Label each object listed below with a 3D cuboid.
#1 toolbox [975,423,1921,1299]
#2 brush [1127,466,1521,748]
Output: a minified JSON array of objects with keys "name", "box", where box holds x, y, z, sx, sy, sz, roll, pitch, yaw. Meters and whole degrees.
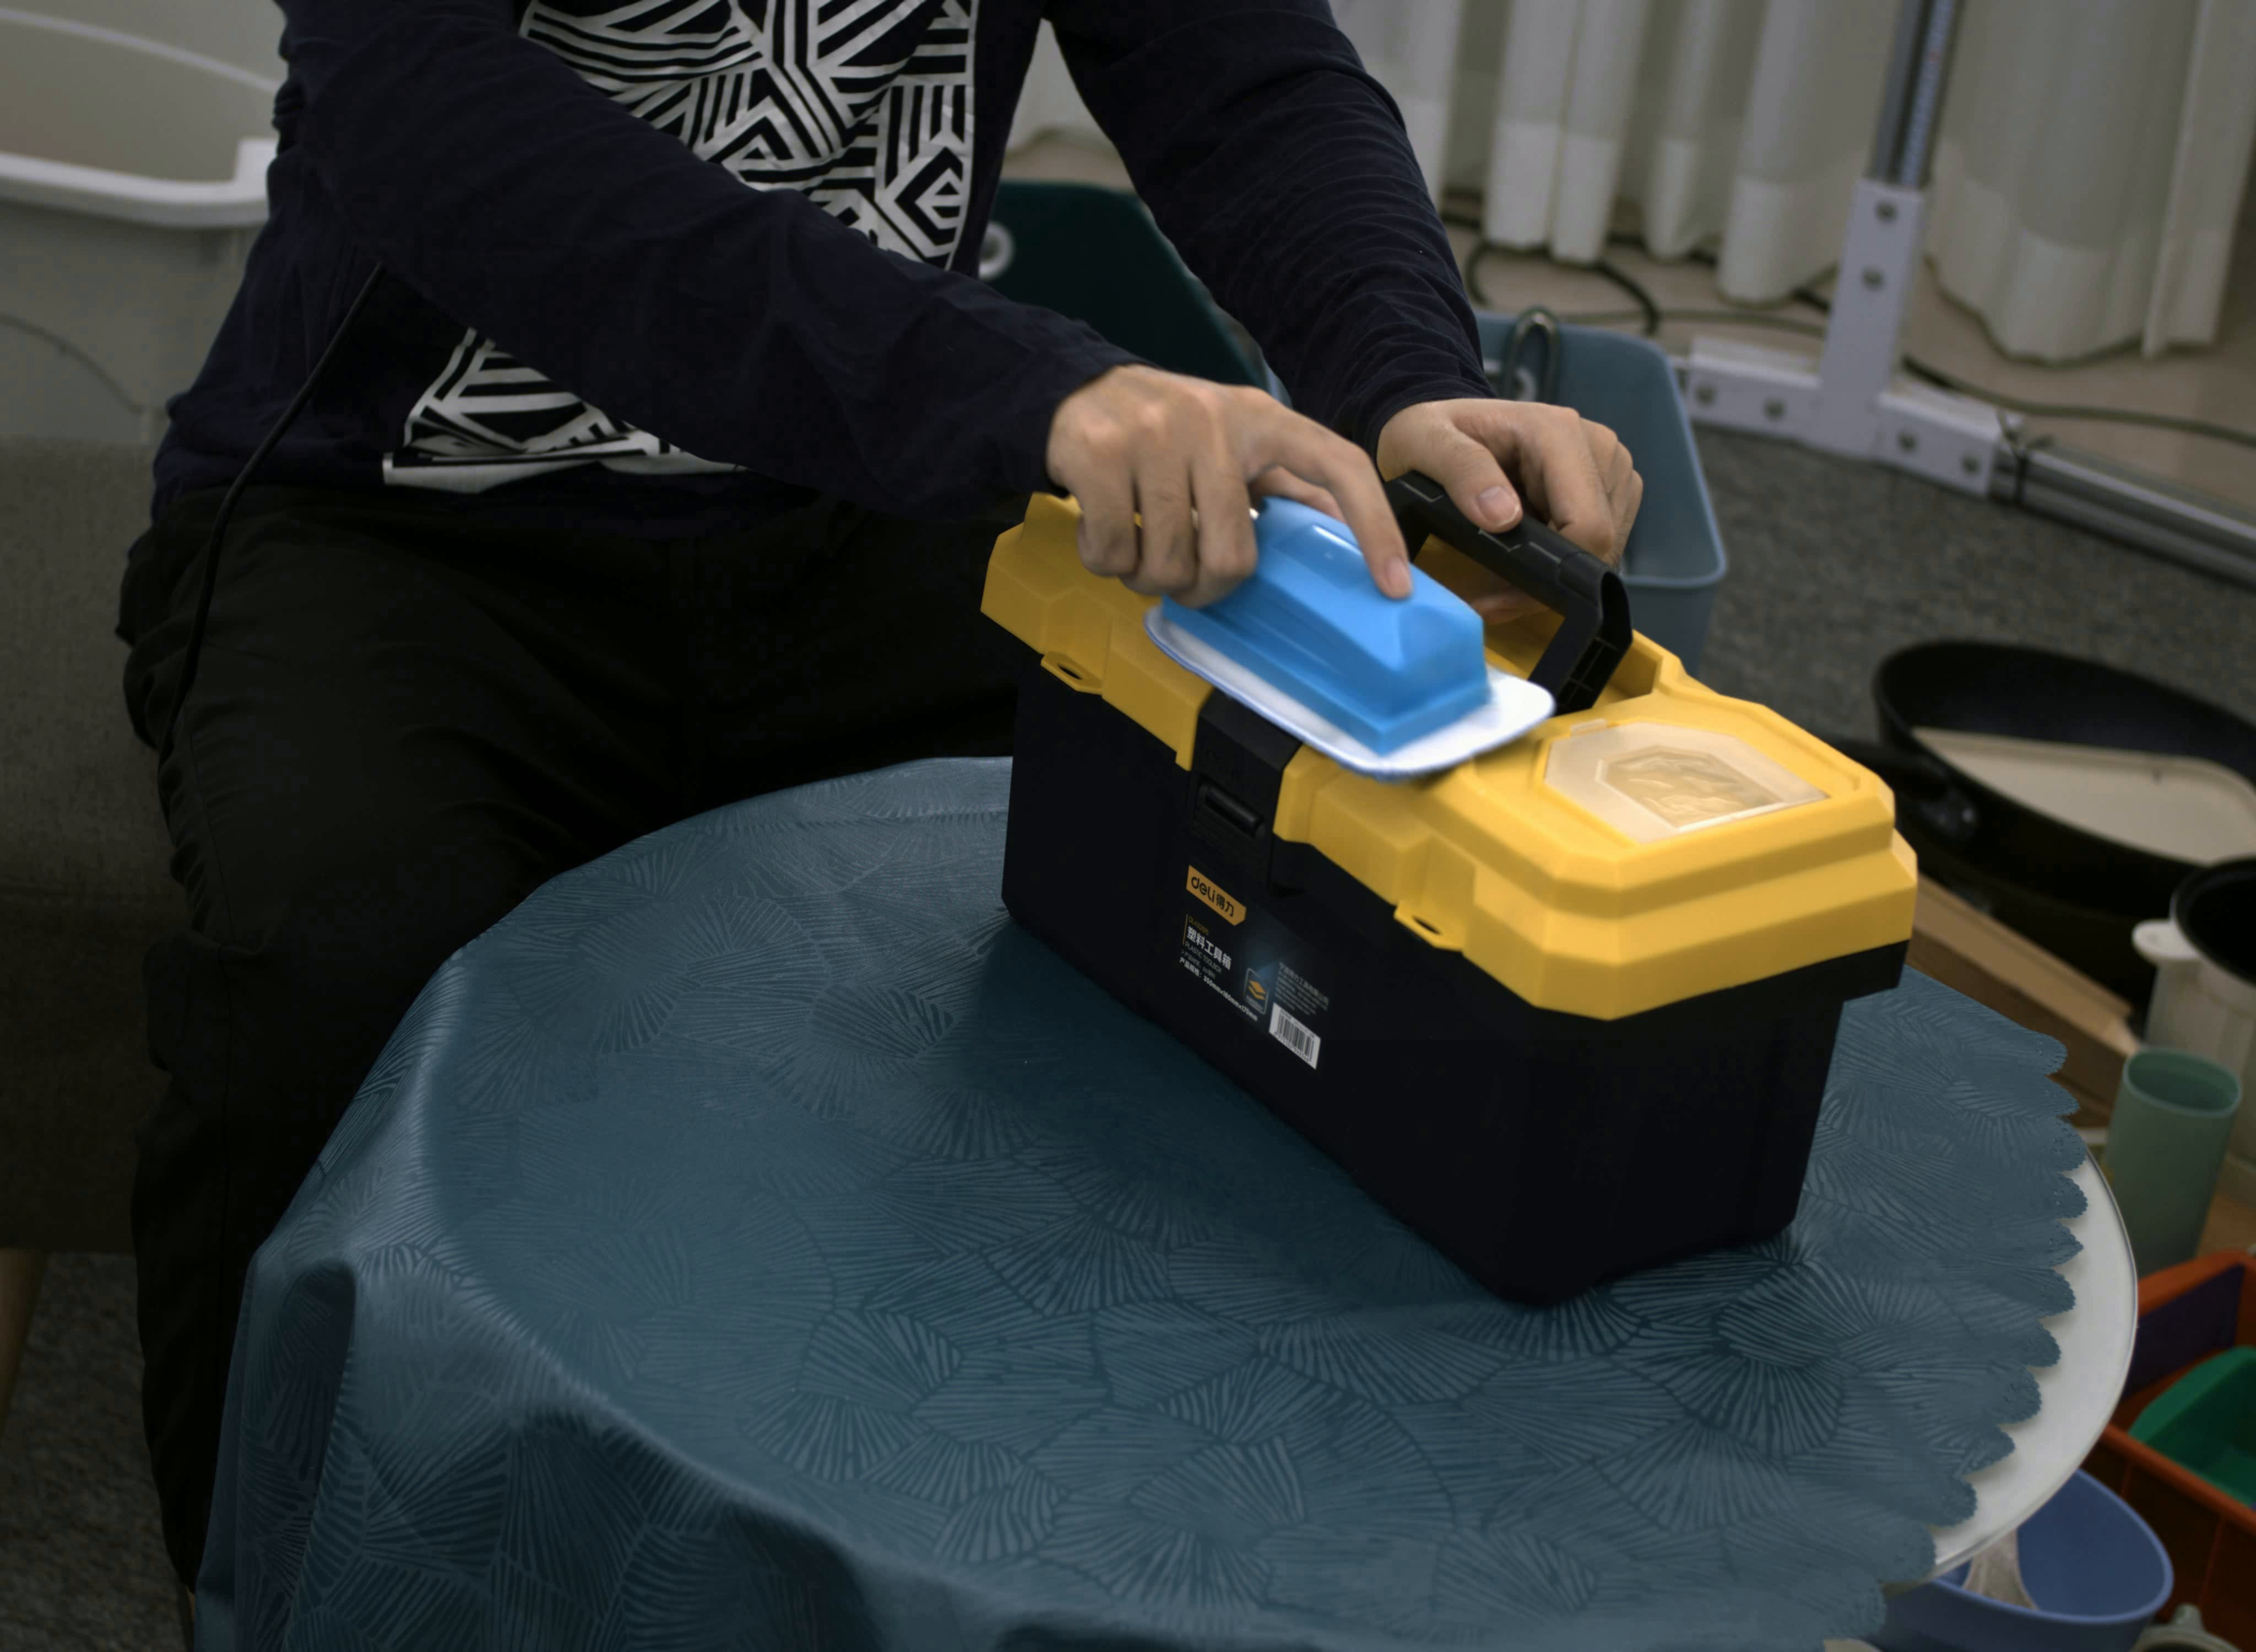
[{"name":"toolbox","box":[0.099,0.006,1.864,0.180,0.172,0.354,-13,34,-33]},{"name":"brush","box":[0.066,-0.077,1.783,0.083,0.055,0.145,-19,36,-26]}]
